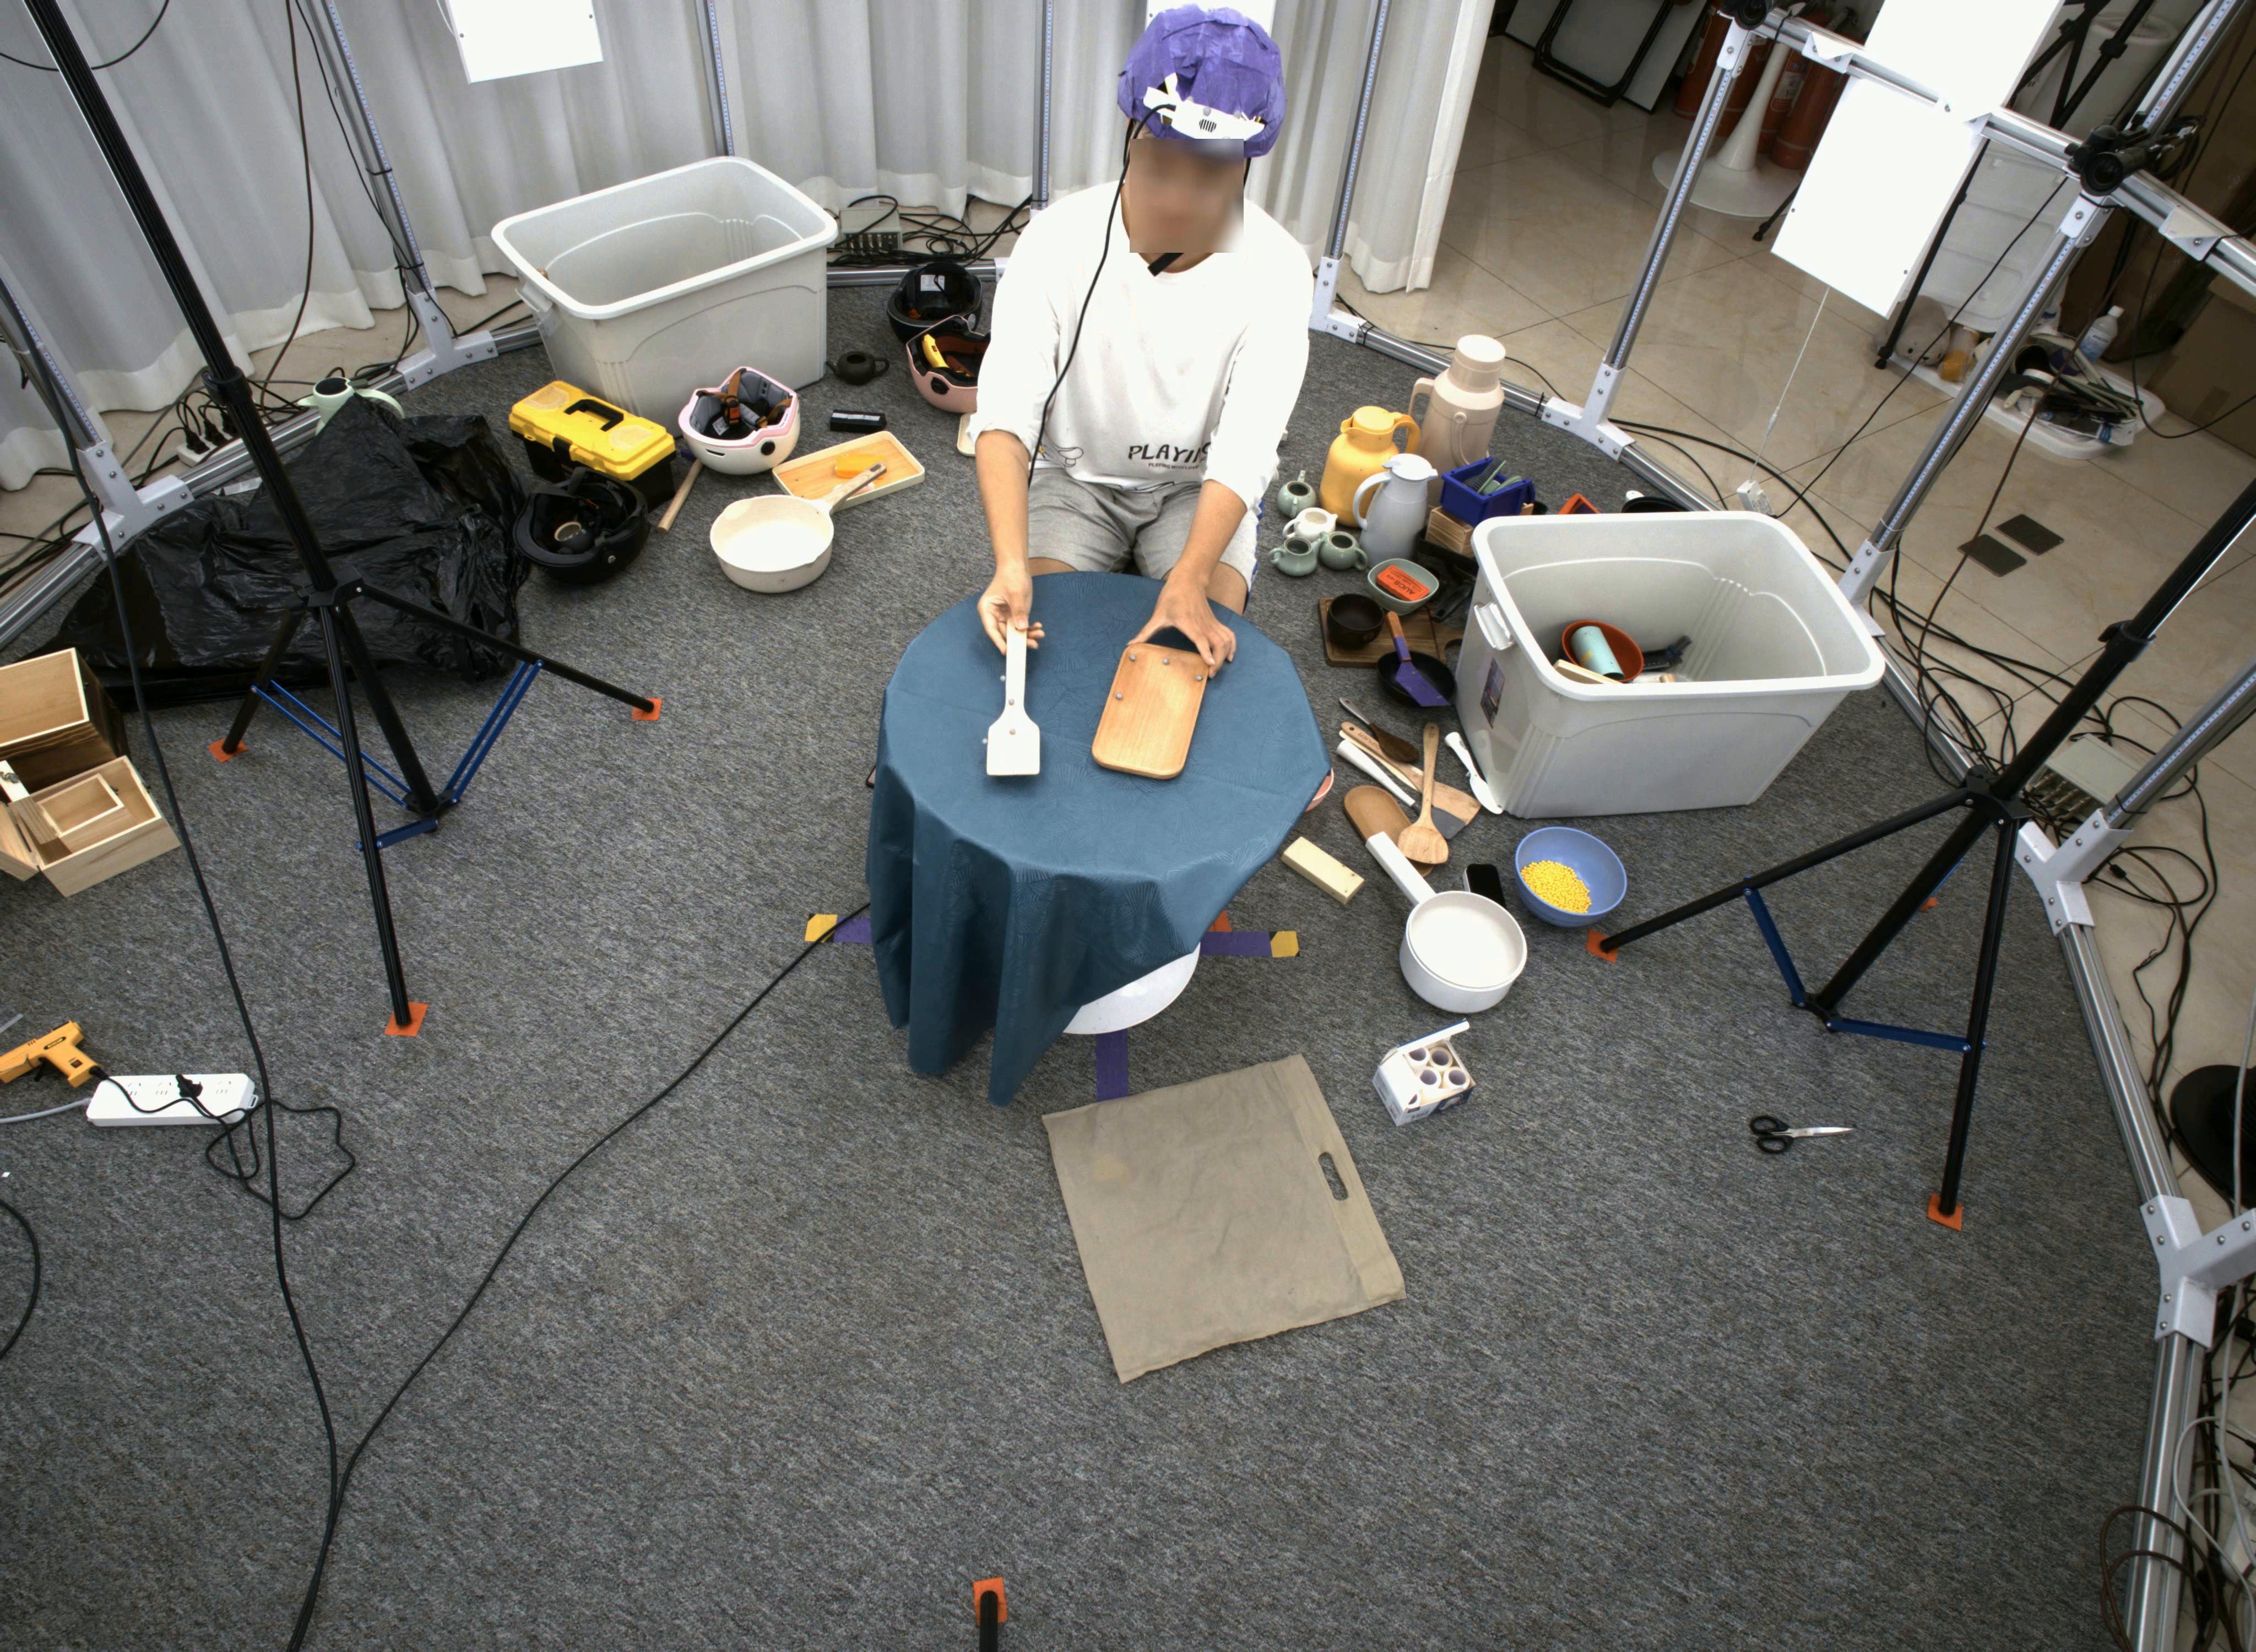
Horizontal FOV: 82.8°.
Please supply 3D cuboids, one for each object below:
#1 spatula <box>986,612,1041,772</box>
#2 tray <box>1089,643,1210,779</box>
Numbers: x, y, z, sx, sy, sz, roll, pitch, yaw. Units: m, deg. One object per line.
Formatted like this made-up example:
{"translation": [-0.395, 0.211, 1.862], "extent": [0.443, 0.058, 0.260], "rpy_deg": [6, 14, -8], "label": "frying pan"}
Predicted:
{"translation": [-0.156, -0.189, 1.772], "extent": [0.072, 0.010, 0.300], "rpy_deg": [-2, 53, 0], "label": "spatula"}
{"translation": [0.033, -0.164, 1.799], "extent": [0.131, 0.022, 0.256], "rpy_deg": [11, 50, 9], "label": "tray"}
